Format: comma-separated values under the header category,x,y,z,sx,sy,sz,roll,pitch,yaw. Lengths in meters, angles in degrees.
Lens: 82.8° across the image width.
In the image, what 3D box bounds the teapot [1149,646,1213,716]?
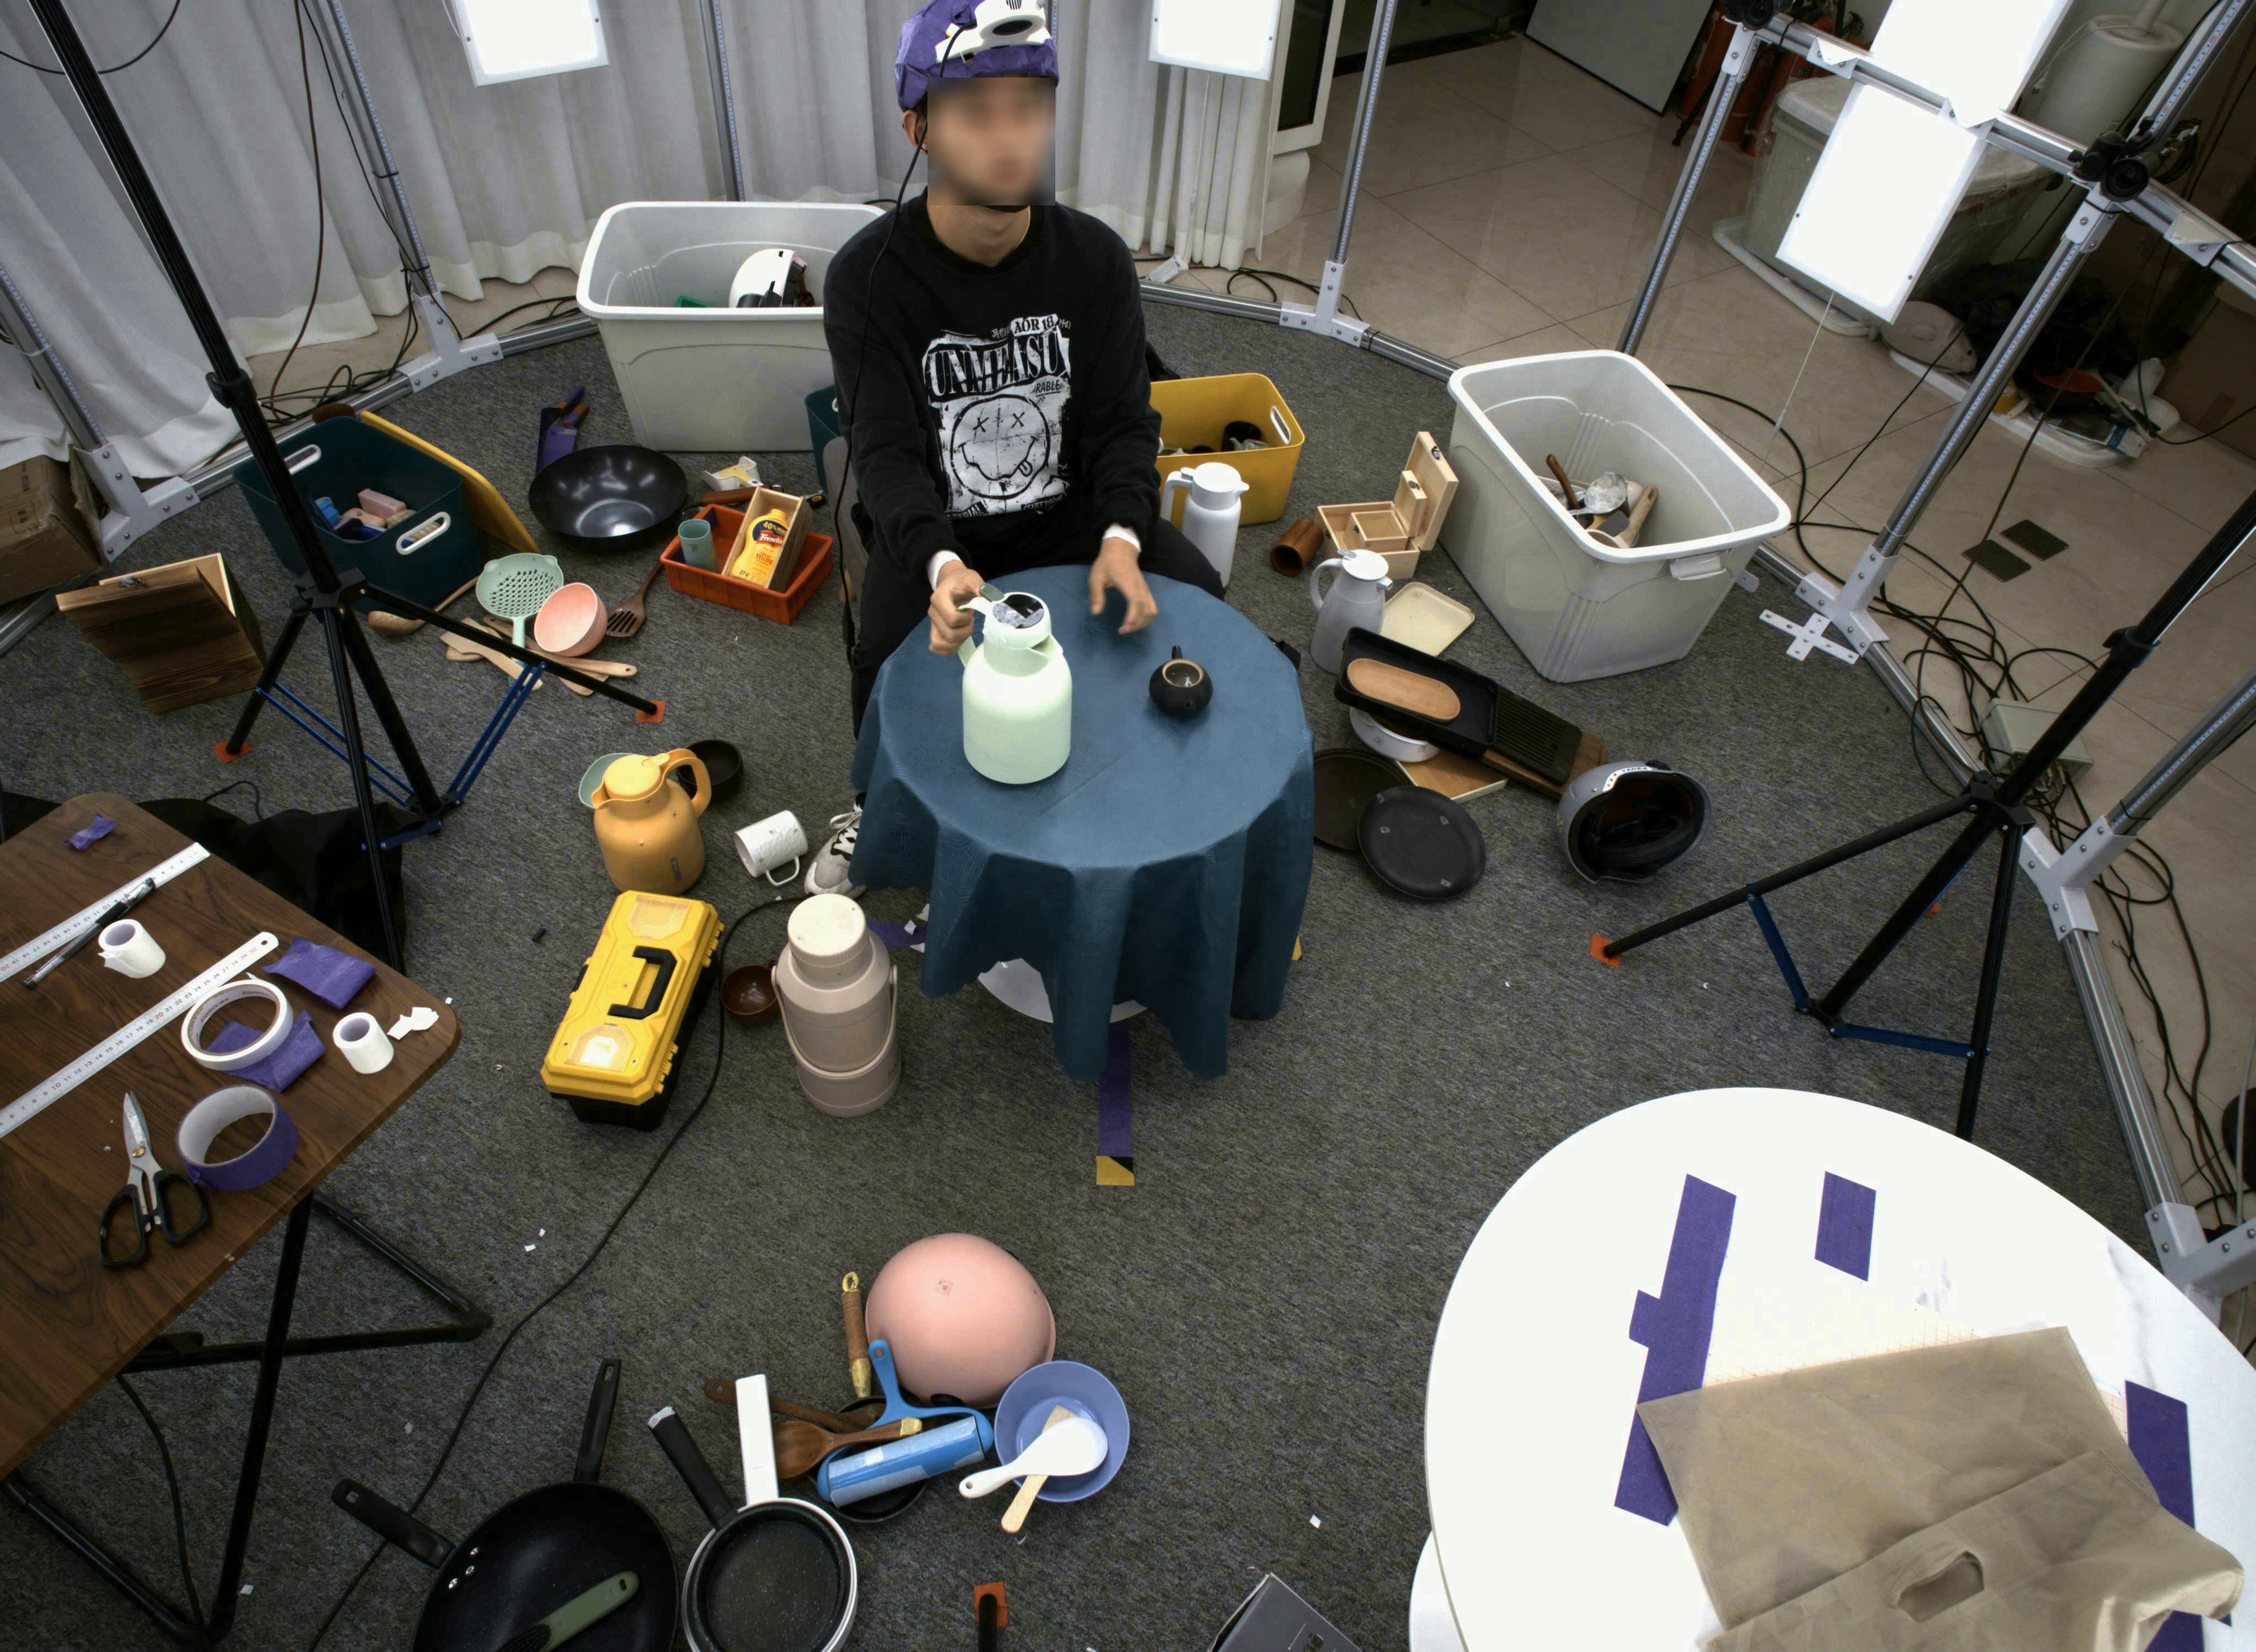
category,x,y,z,sx,sy,sz,roll,pitch,yaw
teapot,0.075,-0.198,1.811,0.091,0.052,0.136,-1,49,-7

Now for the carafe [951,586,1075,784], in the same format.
category,x,y,z,sx,sy,sz,roll,pitch,yaw
carafe,-0.153,-0.190,1.664,0.189,0.250,0.145,35,58,28
